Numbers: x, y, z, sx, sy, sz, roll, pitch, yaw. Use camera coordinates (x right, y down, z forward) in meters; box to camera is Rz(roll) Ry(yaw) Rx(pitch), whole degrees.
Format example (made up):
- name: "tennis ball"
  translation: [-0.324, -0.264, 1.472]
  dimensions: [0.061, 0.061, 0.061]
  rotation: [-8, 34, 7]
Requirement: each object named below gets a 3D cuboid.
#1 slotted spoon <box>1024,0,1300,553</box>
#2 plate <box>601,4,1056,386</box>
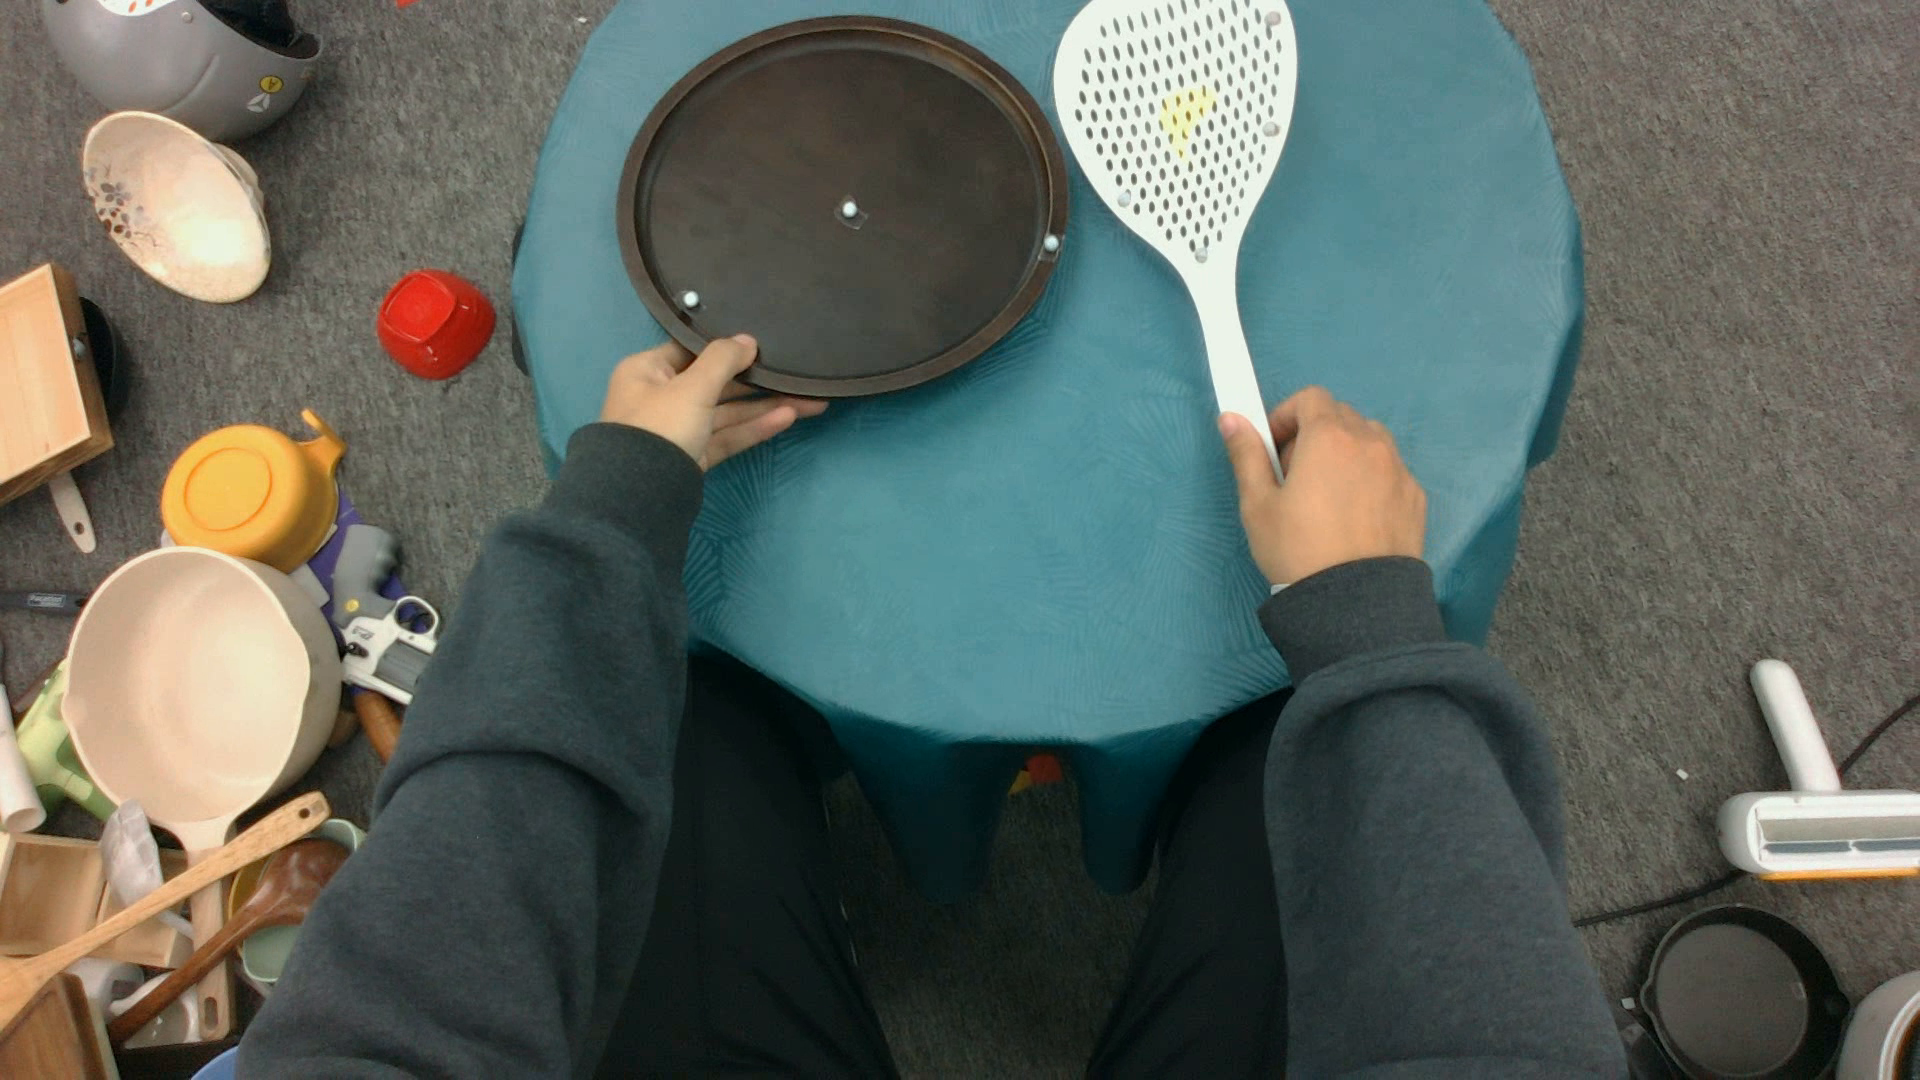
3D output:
- name: "slotted spoon"
  translation: [0.127, -0.161, 0.756]
  dimensions: [0.136, 0.050, 0.348]
  rotation: [-16, 75, 23]
- name: "plate"
  translation: [-0.074, -0.197, 0.773]
  dimensions: [0.255, 0.029, 0.255]
  rotation: [0, 68, 0]
